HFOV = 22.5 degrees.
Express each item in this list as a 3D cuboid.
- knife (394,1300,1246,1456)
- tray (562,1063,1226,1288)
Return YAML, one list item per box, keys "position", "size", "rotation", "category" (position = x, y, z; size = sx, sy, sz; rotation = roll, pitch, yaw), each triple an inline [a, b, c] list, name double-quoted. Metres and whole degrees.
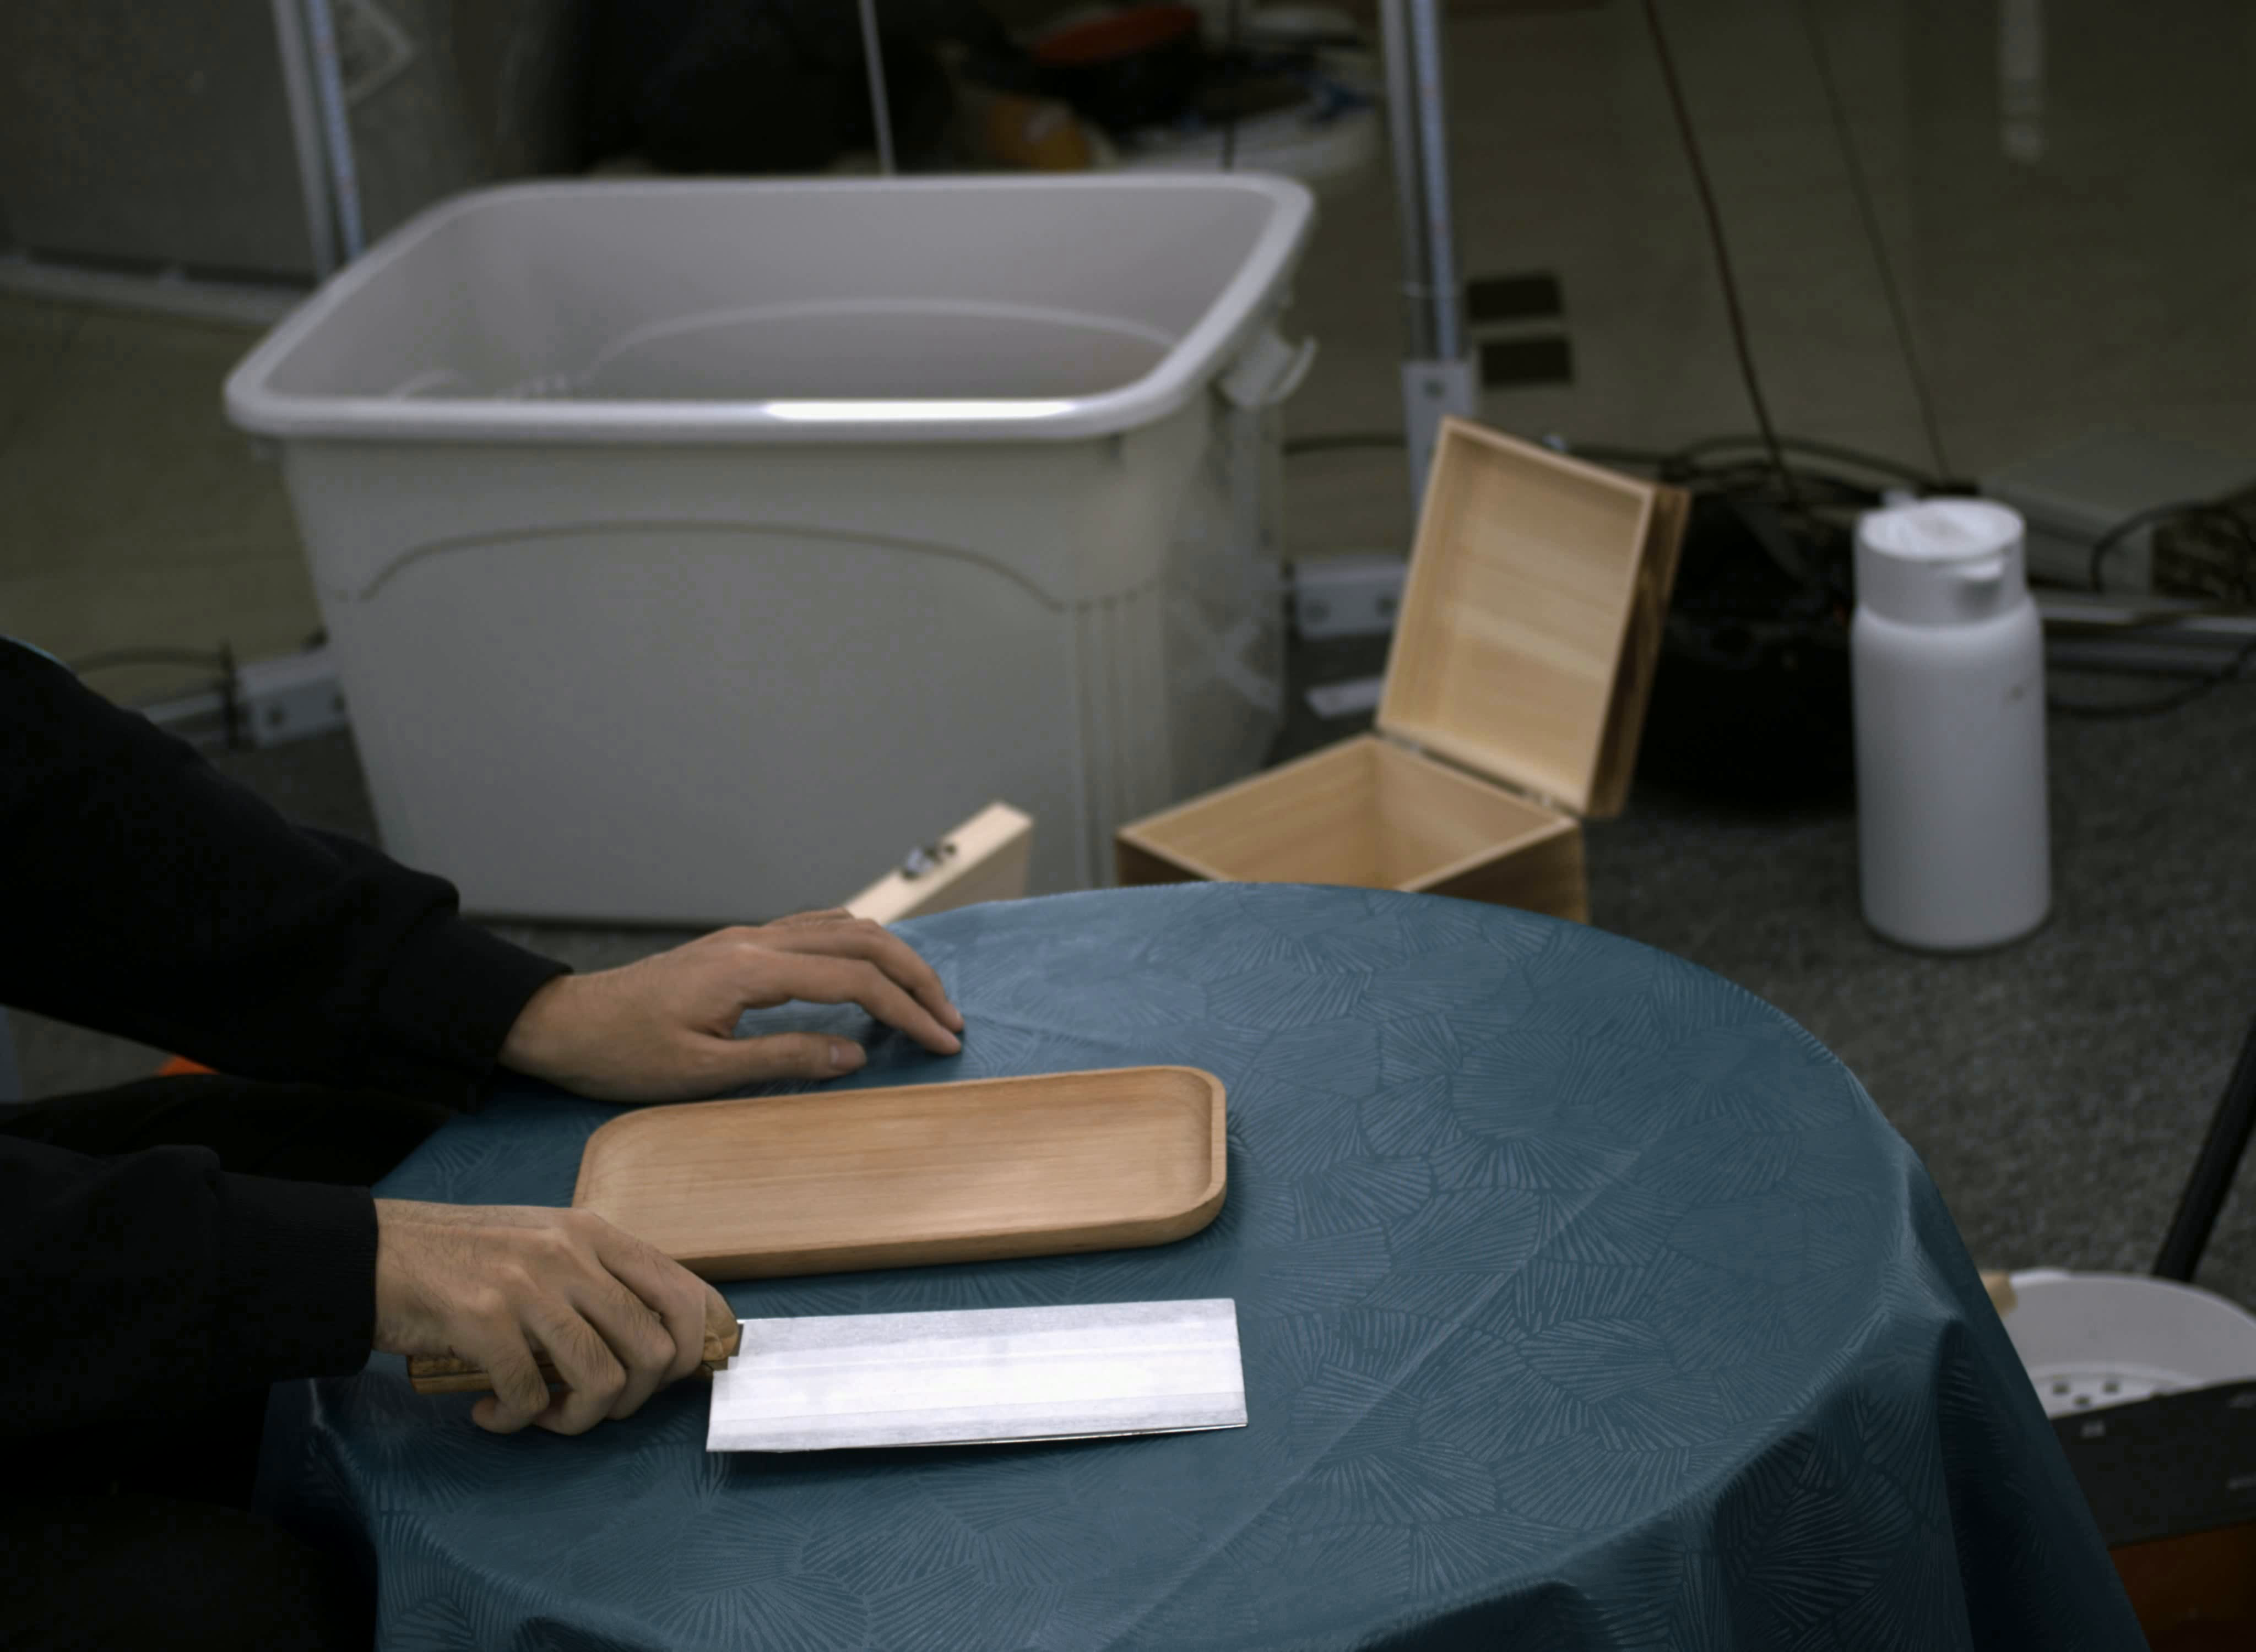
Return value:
- position: [-0.111, 0.197, 2.022]
  size: [0.305, 0.021, 0.091]
  rotation: [-2, 25, -1]
  category: "knife"
- position: [-0.087, 0.134, 2.161]
  size: [0.250, 0.023, 0.129]
  rotation: [-5, 23, 5]
  category: "tray"
